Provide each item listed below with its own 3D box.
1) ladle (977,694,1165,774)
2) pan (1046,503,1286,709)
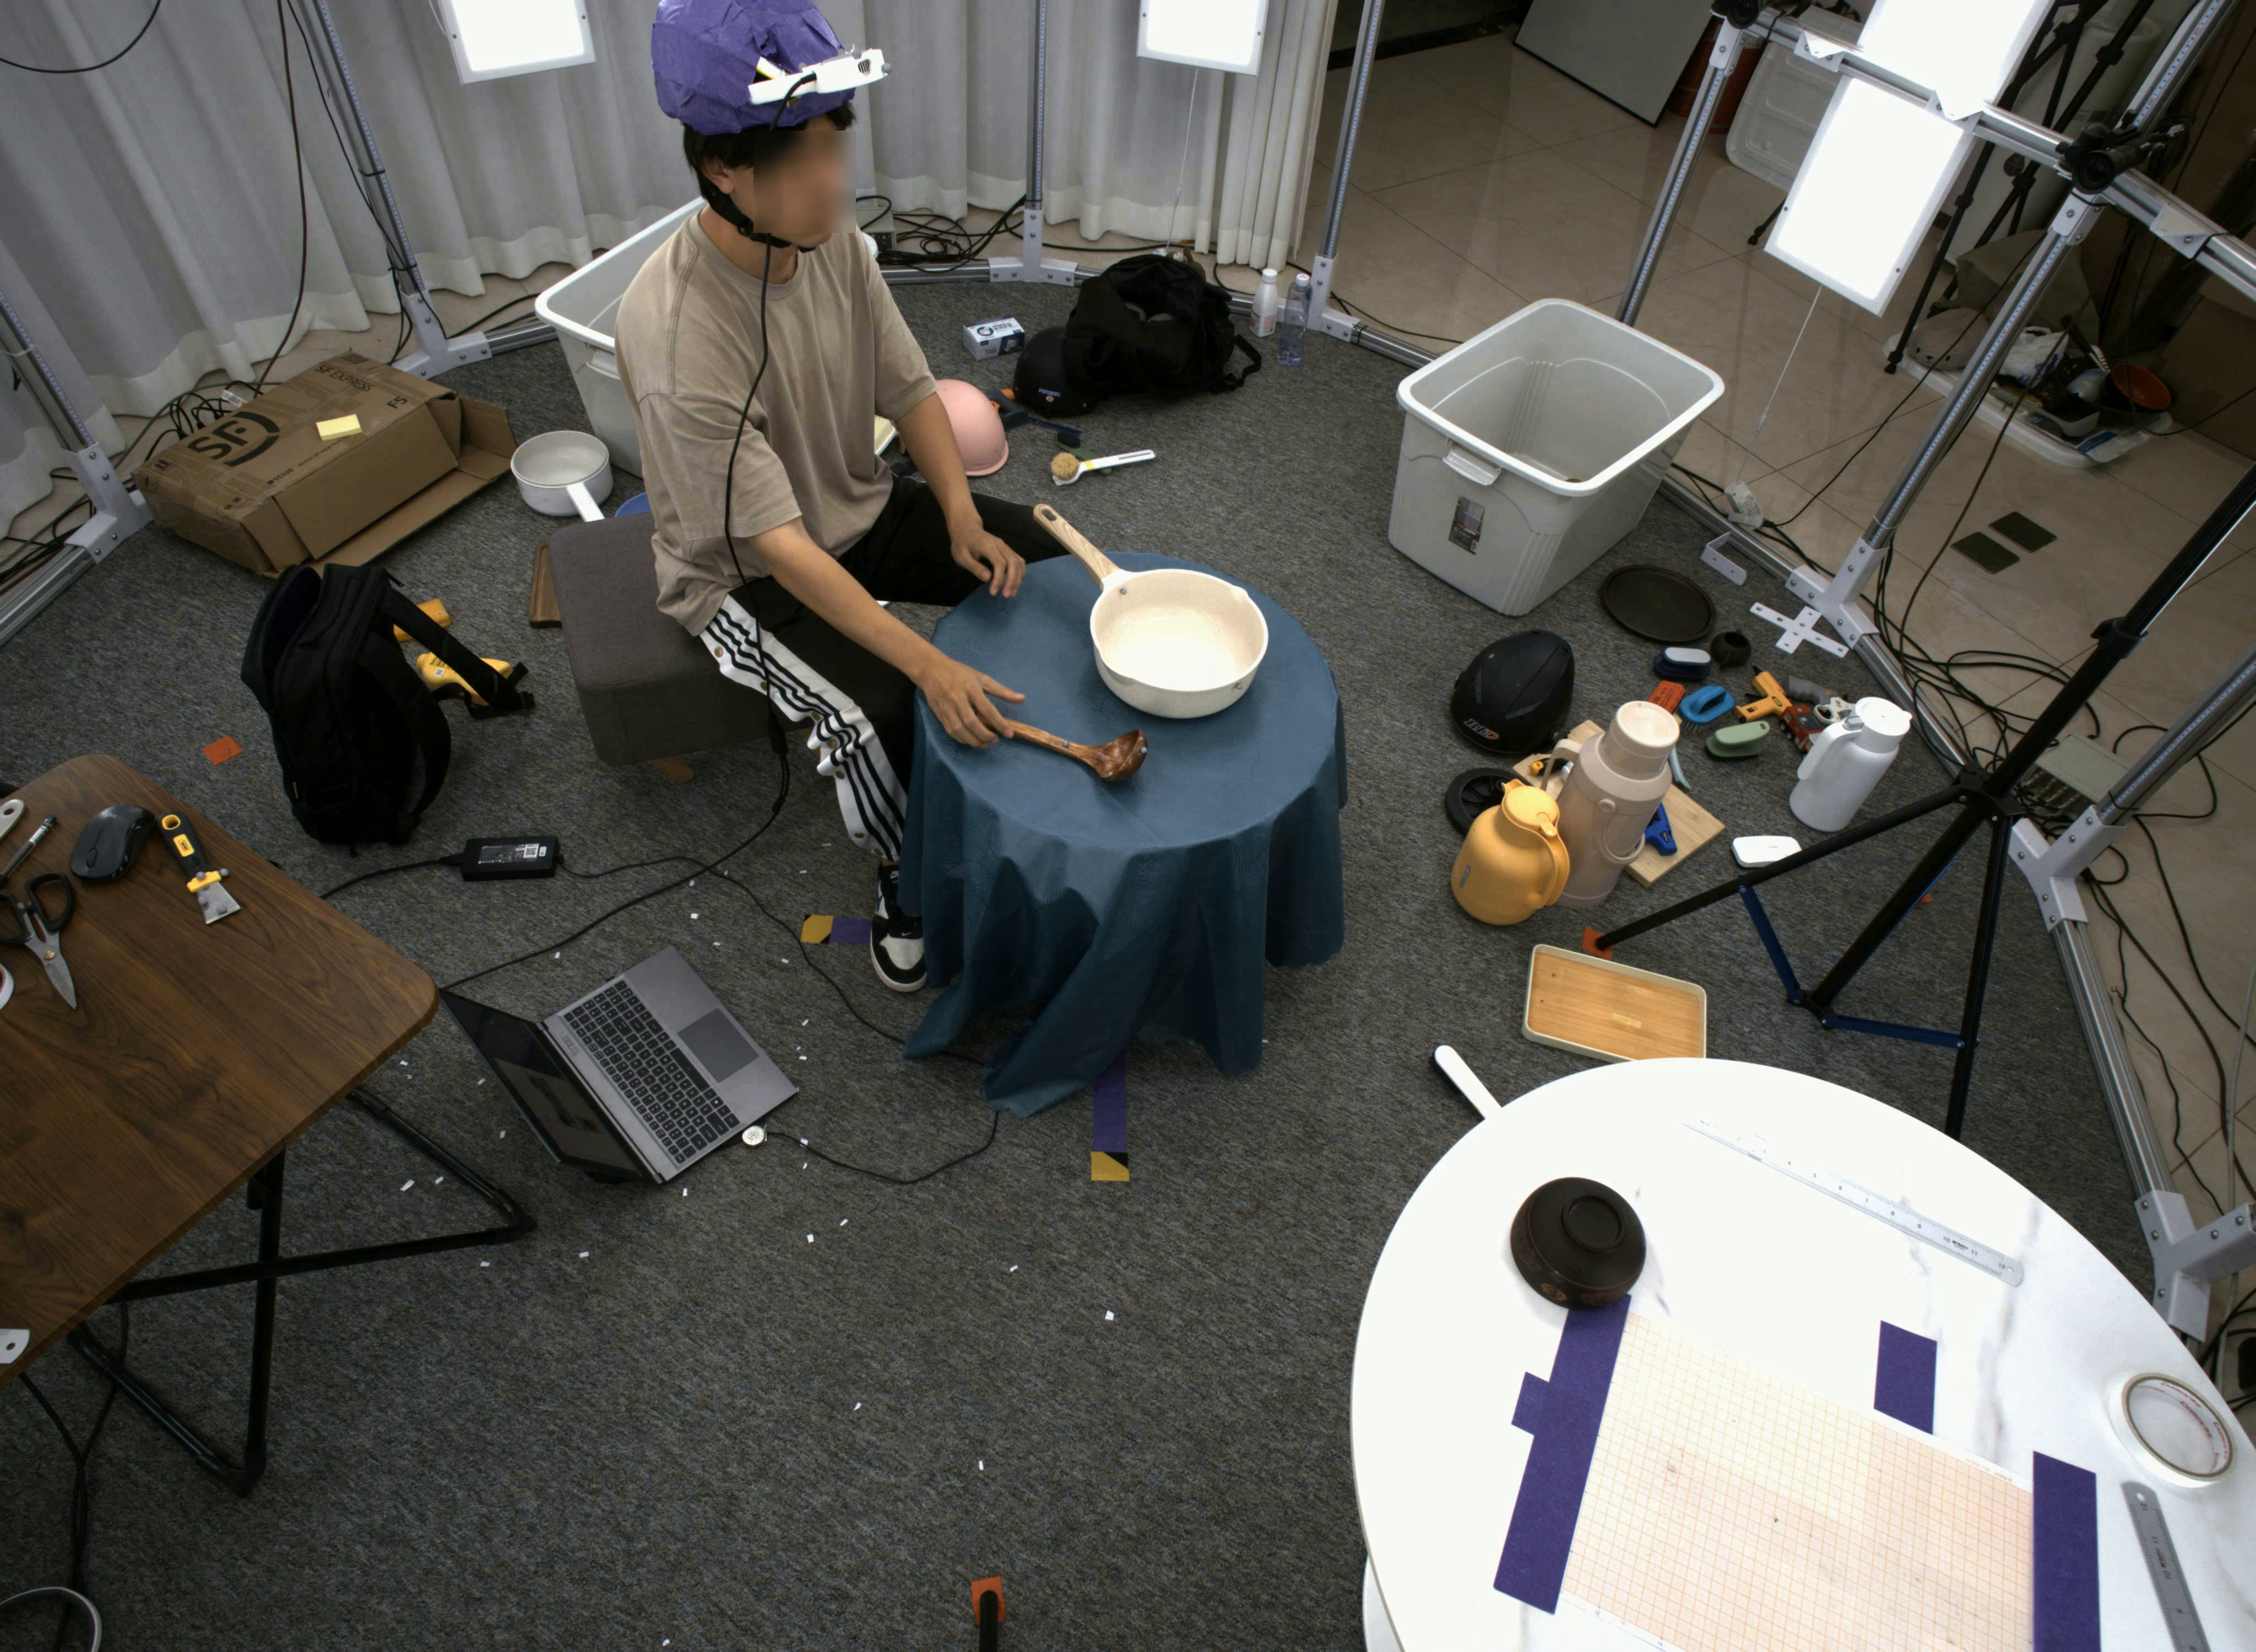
[{"bbox_3d":[-0.081,-0.139,1.714,0.275,0.075,0.083,22,55,13],"label":"ladle"},{"bbox_3d":[0.032,-0.327,1.877,0.265,0.099,0.442,-34,59,-28],"label":"pan"}]
